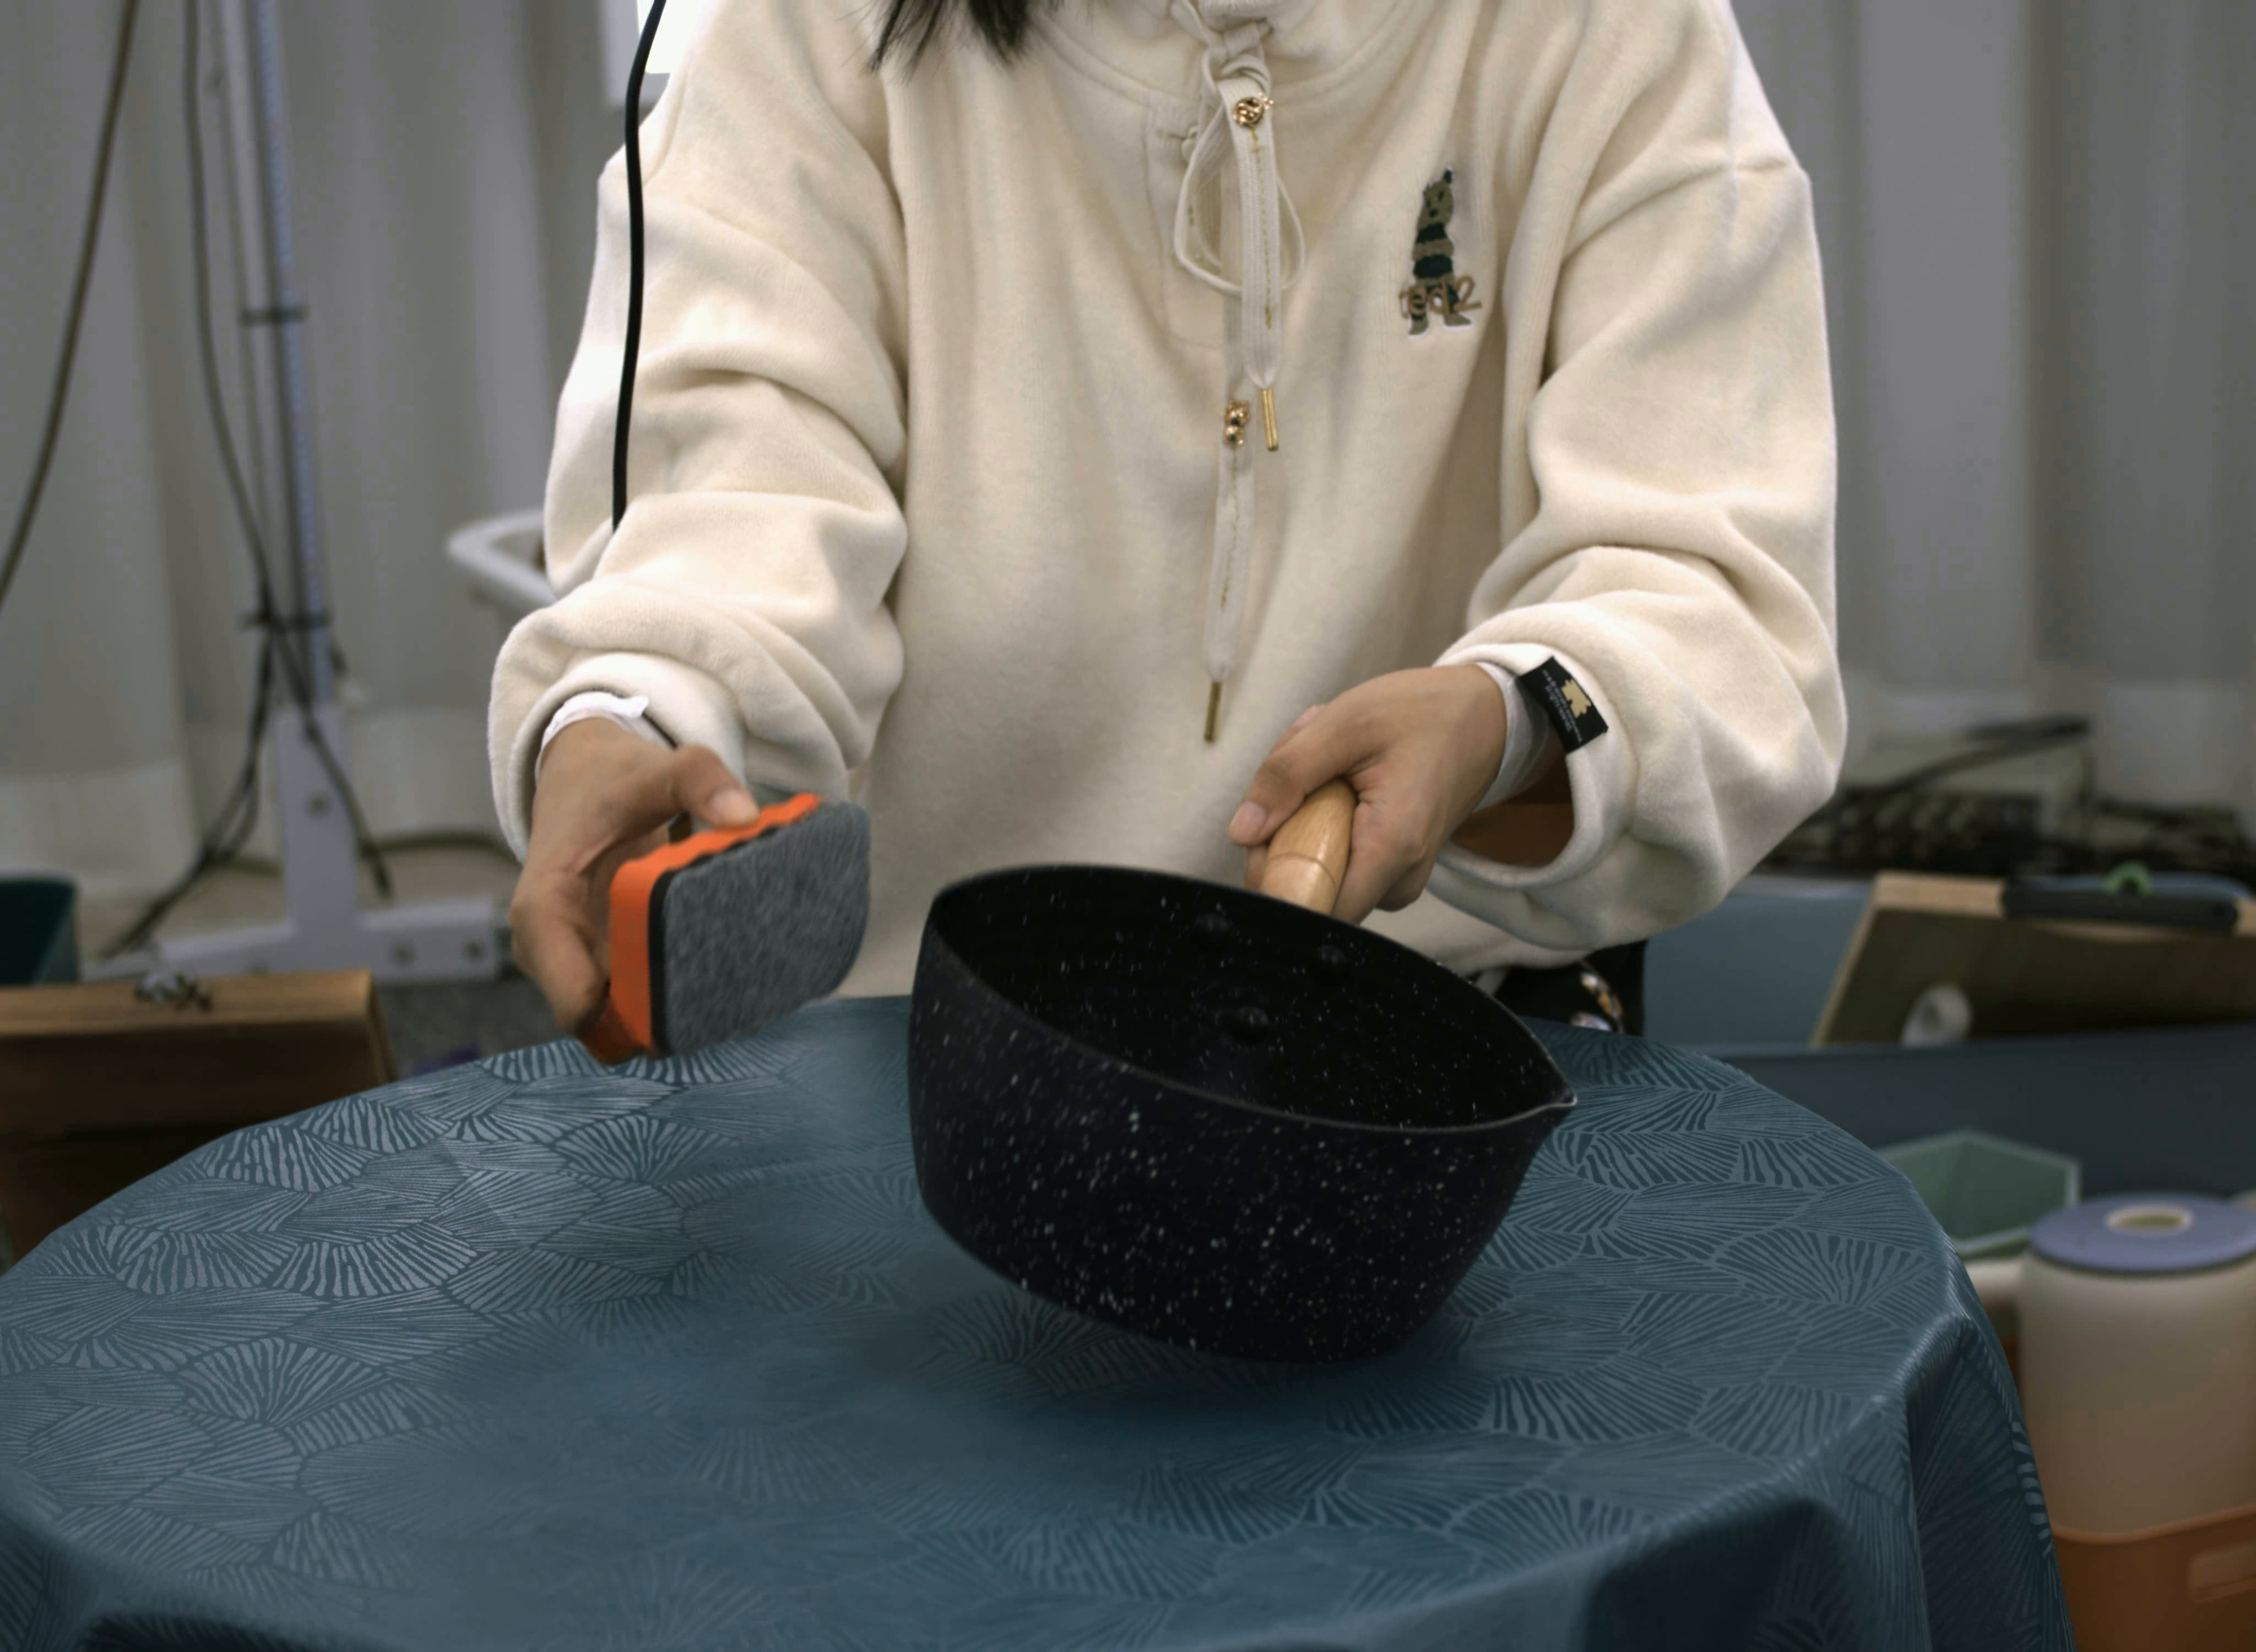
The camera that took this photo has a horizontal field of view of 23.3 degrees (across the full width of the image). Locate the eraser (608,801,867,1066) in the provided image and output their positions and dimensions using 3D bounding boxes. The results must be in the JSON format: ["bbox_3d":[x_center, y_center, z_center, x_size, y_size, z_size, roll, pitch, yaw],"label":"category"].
[{"bbox_3d":[-0.116,0.031,1.643,0.023,0.059,0.108,9,17,29],"label":"eraser"}]

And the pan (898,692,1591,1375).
[{"bbox_3d":[0.036,0.054,1.646,0.207,0.107,0.345,15,19,3],"label":"pan"}]
